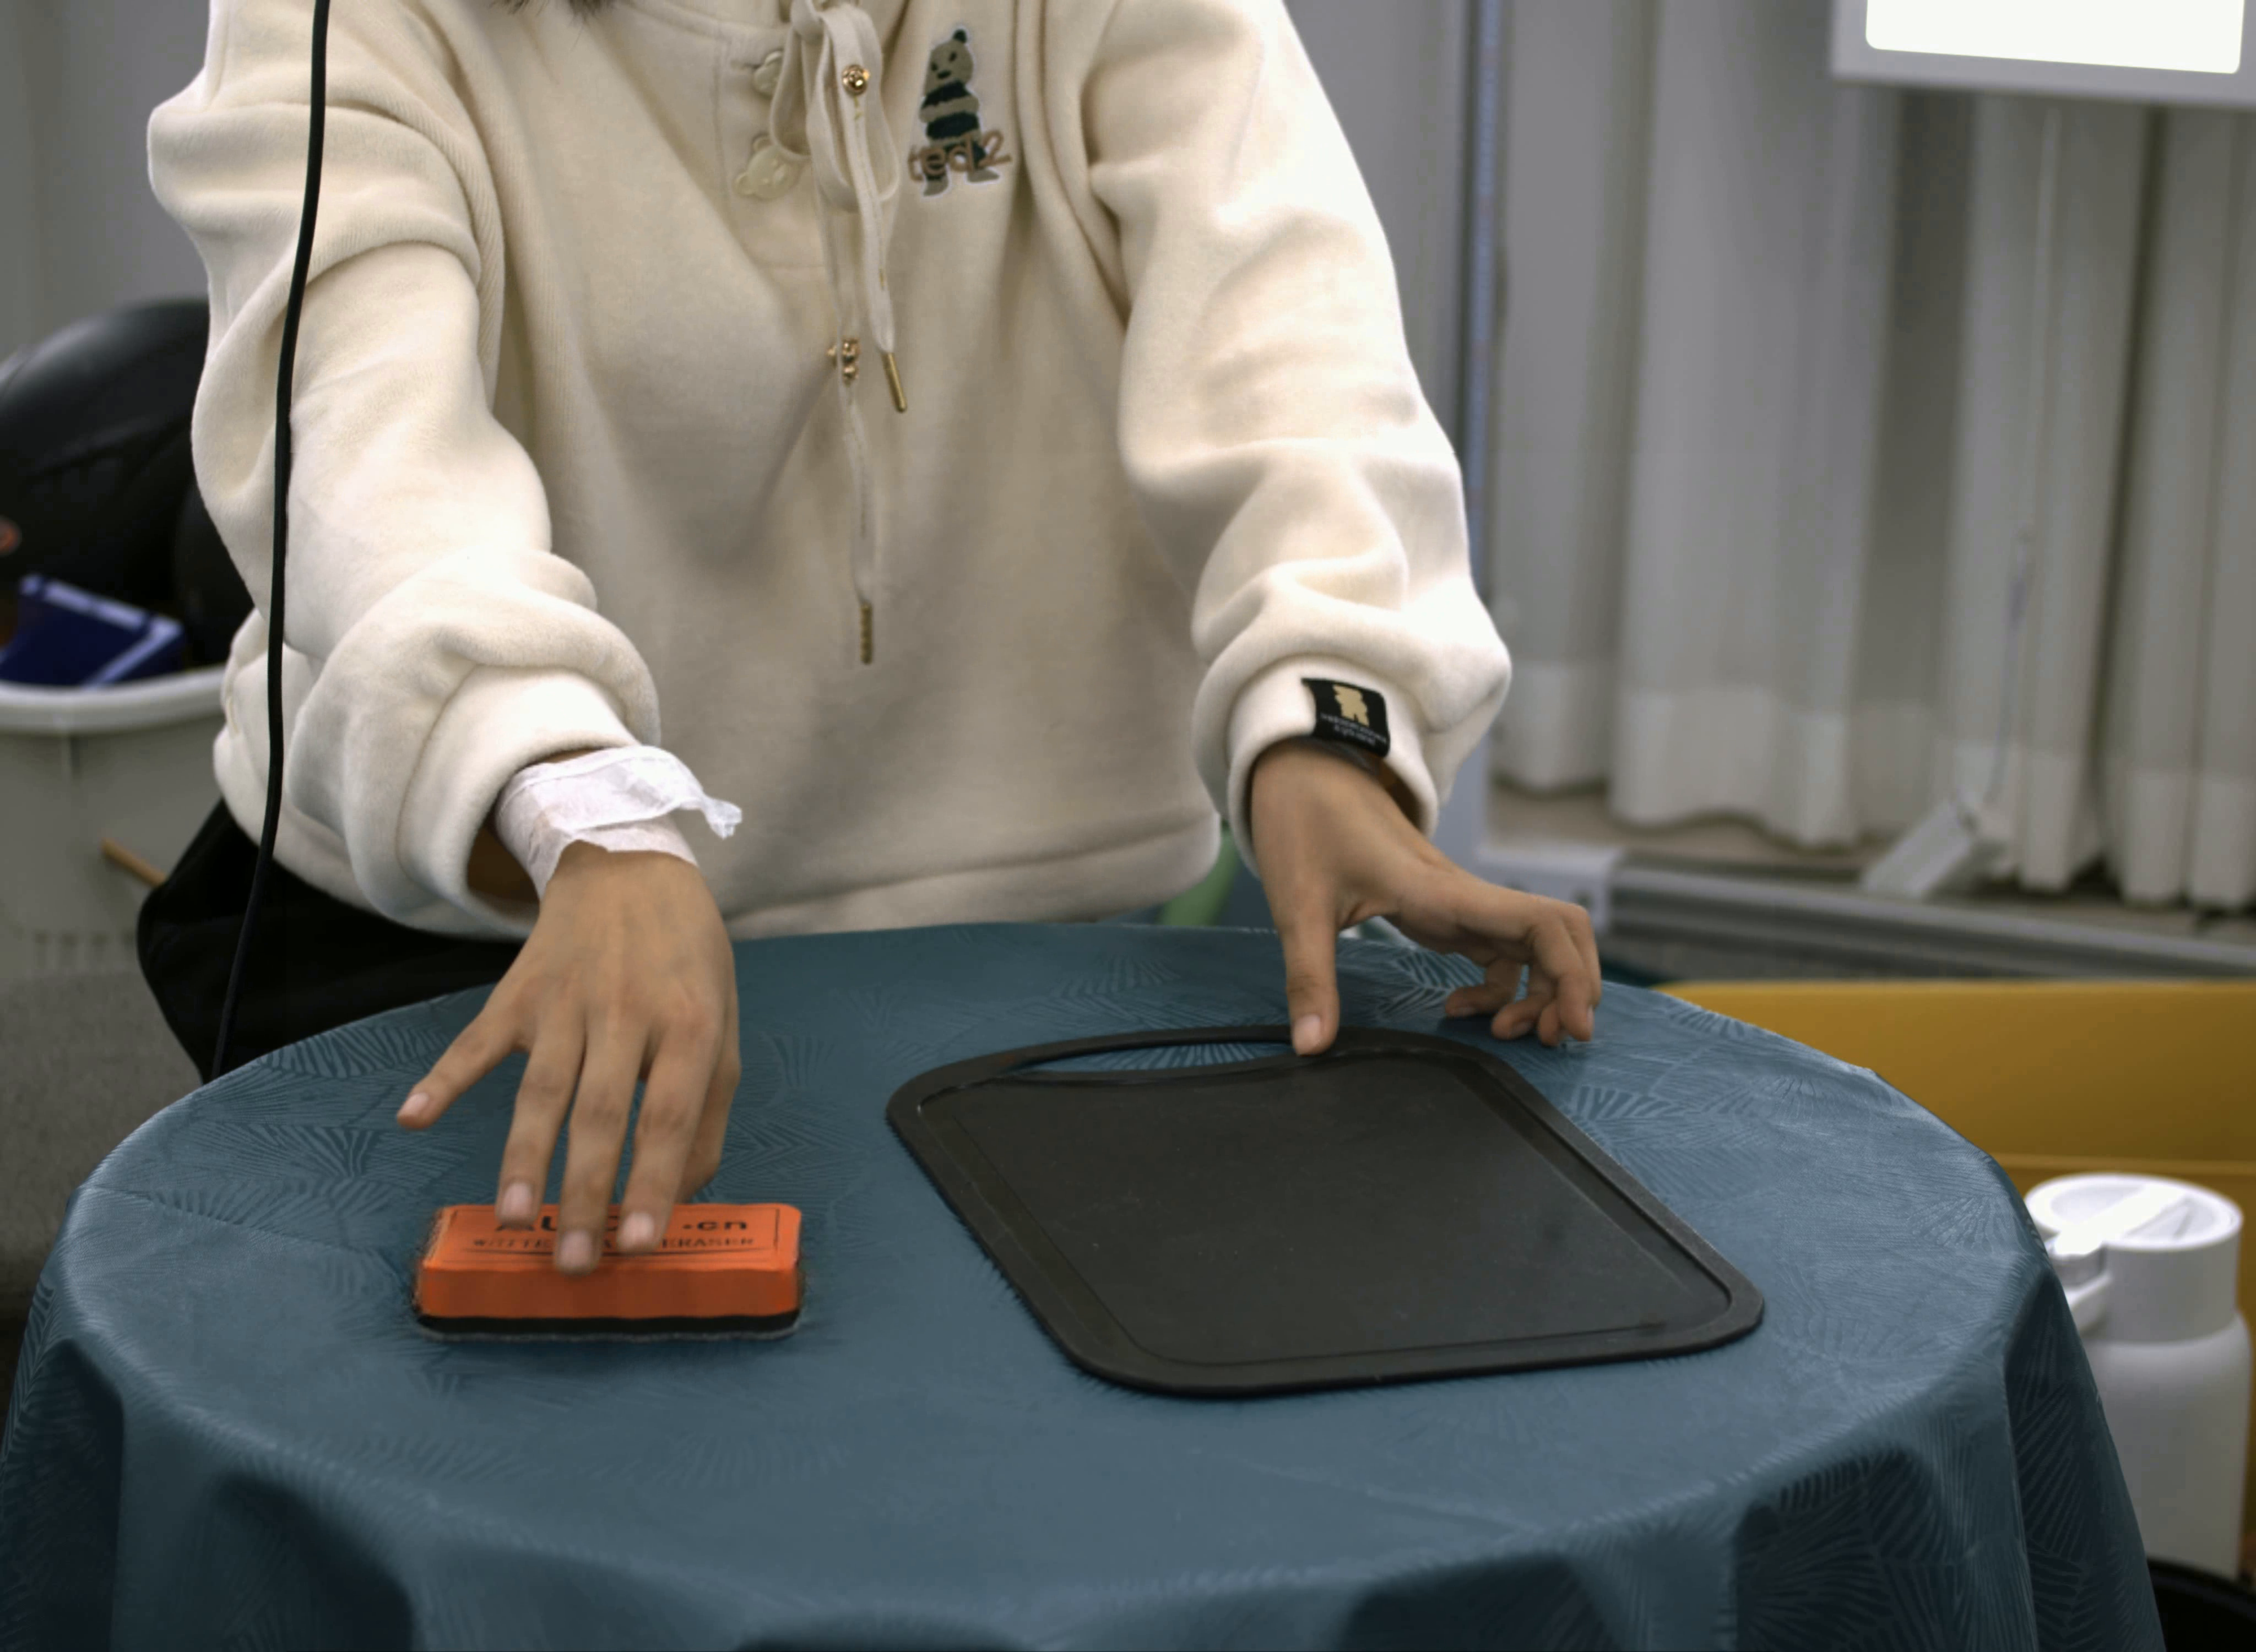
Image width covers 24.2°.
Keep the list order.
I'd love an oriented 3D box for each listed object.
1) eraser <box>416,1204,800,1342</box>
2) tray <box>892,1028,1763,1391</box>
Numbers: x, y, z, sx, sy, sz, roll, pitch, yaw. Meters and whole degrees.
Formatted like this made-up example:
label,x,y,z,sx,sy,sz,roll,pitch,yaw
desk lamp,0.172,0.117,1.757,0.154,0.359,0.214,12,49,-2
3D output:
label,x,y,z,sx,sy,sz,roll,pitch,yaw
eraser,-0.149,0.128,1.514,0.108,0.023,0.058,1,16,-2
tray,0.051,0.110,1.619,0.211,0.010,0.322,-4,16,-15
